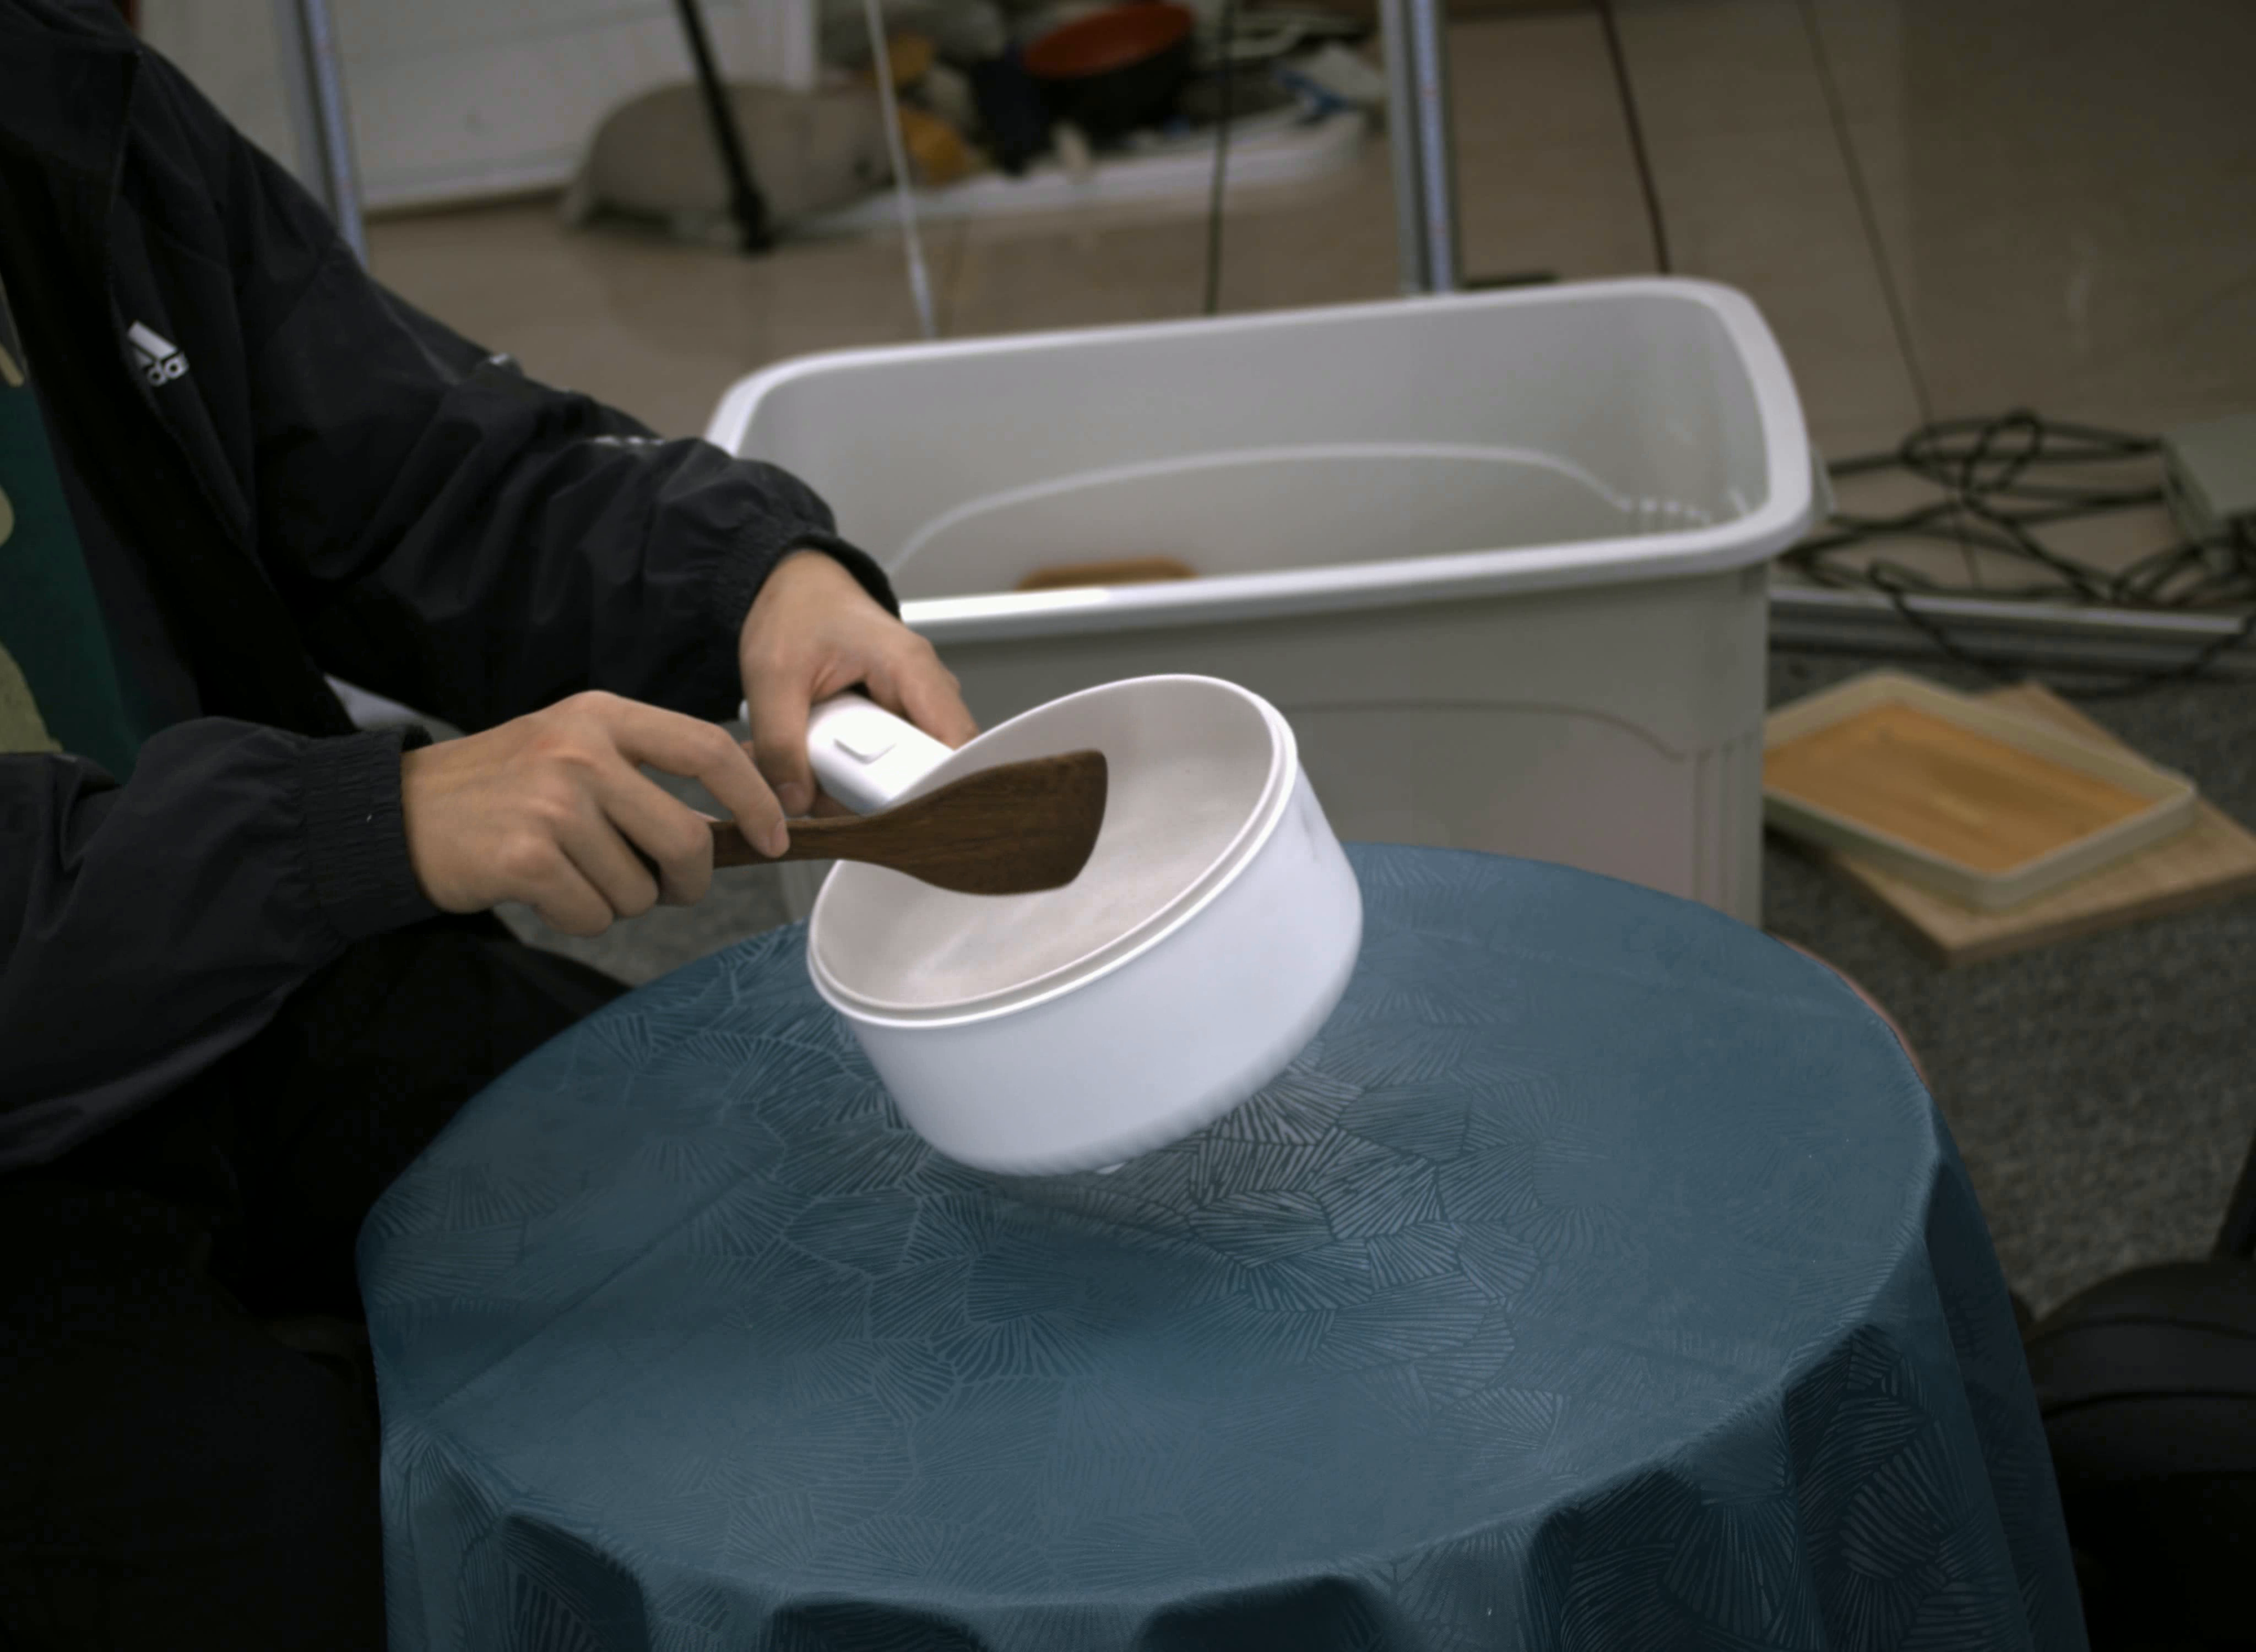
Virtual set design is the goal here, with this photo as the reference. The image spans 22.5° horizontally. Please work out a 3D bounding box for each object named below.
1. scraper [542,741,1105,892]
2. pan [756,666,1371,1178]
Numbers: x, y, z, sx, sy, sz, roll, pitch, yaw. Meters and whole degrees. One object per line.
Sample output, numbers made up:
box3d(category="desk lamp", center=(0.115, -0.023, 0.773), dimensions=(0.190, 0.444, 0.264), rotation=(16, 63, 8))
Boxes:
box3d(category="scraper", center=(-0.112, 0.002, 2.097), dimensions=(0.211, 0.077, 0.010), rotation=(-4, 49, -11))
box3d(category="pan", center=(-0.043, 0.024, 2.195), dimensions=(0.200, 0.103, 0.351), rotation=(-38, 29, -14))
